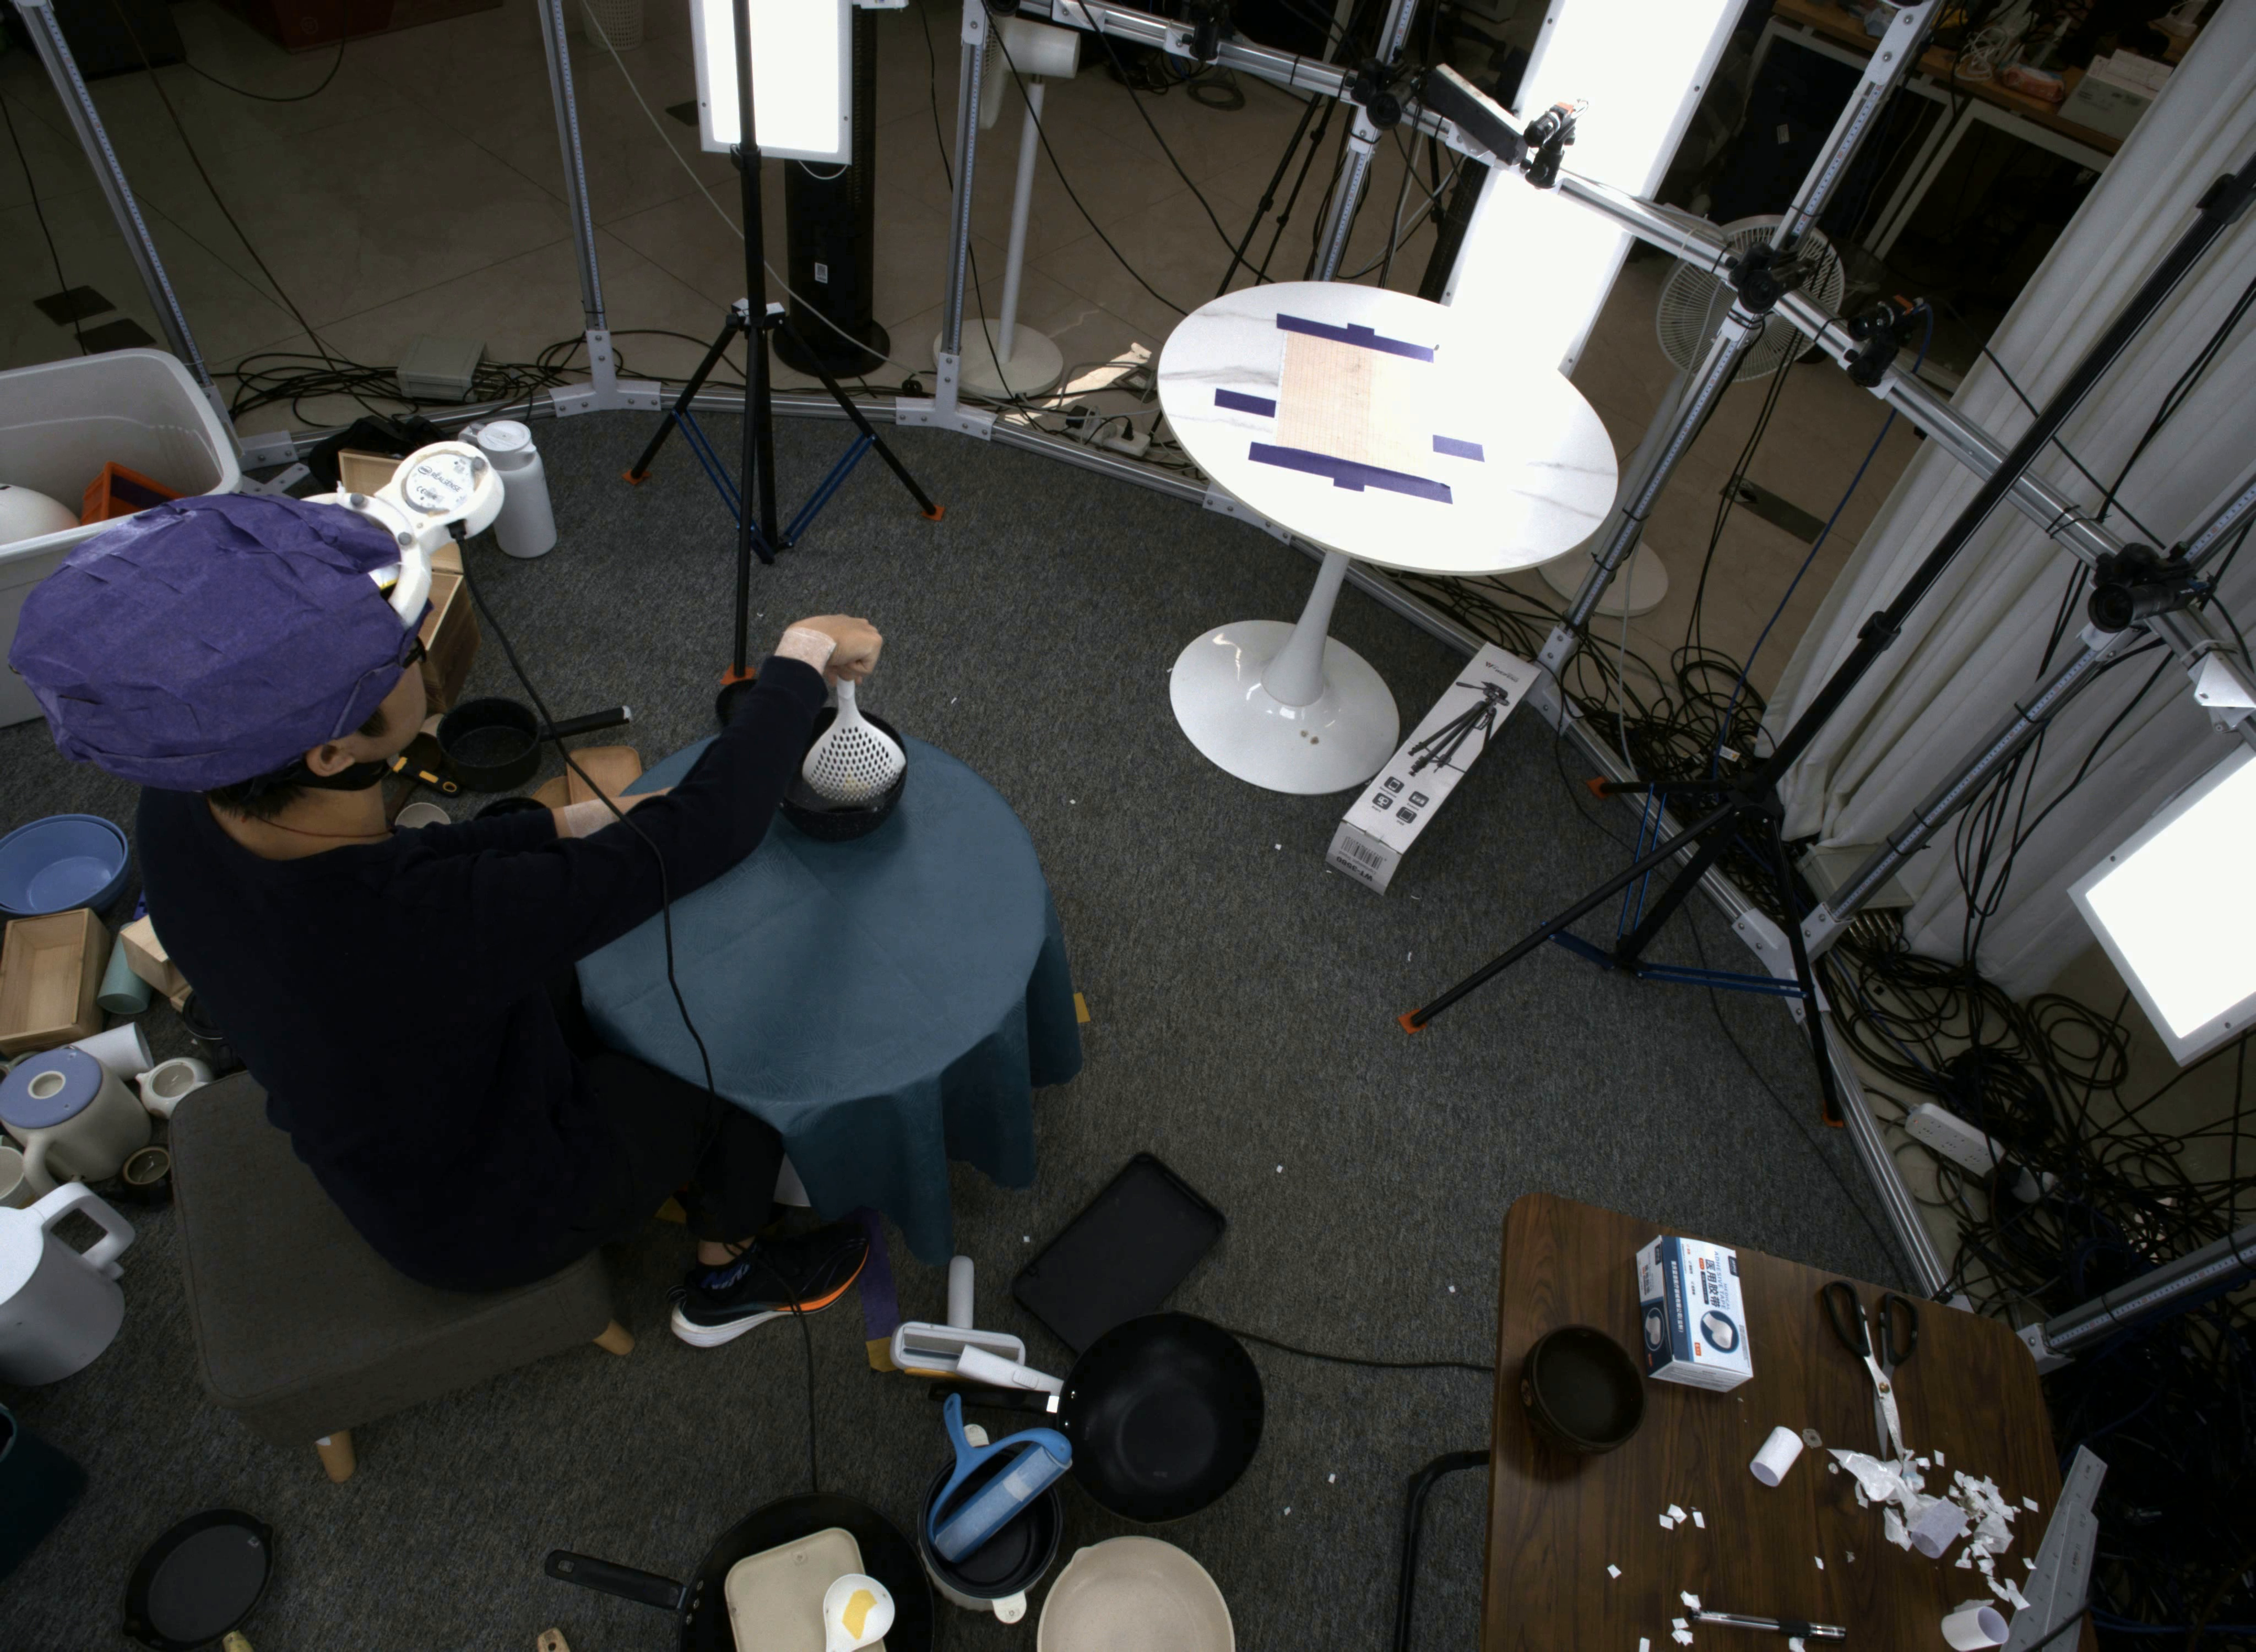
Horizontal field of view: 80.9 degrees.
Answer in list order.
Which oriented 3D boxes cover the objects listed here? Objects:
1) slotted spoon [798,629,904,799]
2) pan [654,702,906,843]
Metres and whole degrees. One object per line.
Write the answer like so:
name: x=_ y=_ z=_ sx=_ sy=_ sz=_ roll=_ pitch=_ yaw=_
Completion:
slotted spoon: x=-0.343 y=-0.132 z=1.592 sx=0.137 sy=0.355 sz=0.049 roll=-7 pitch=56 yaw=-14
pan: x=-0.445 y=-0.038 z=1.667 sx=0.344 sy=0.110 sz=0.203 roll=-30 pitch=67 yaw=-32
